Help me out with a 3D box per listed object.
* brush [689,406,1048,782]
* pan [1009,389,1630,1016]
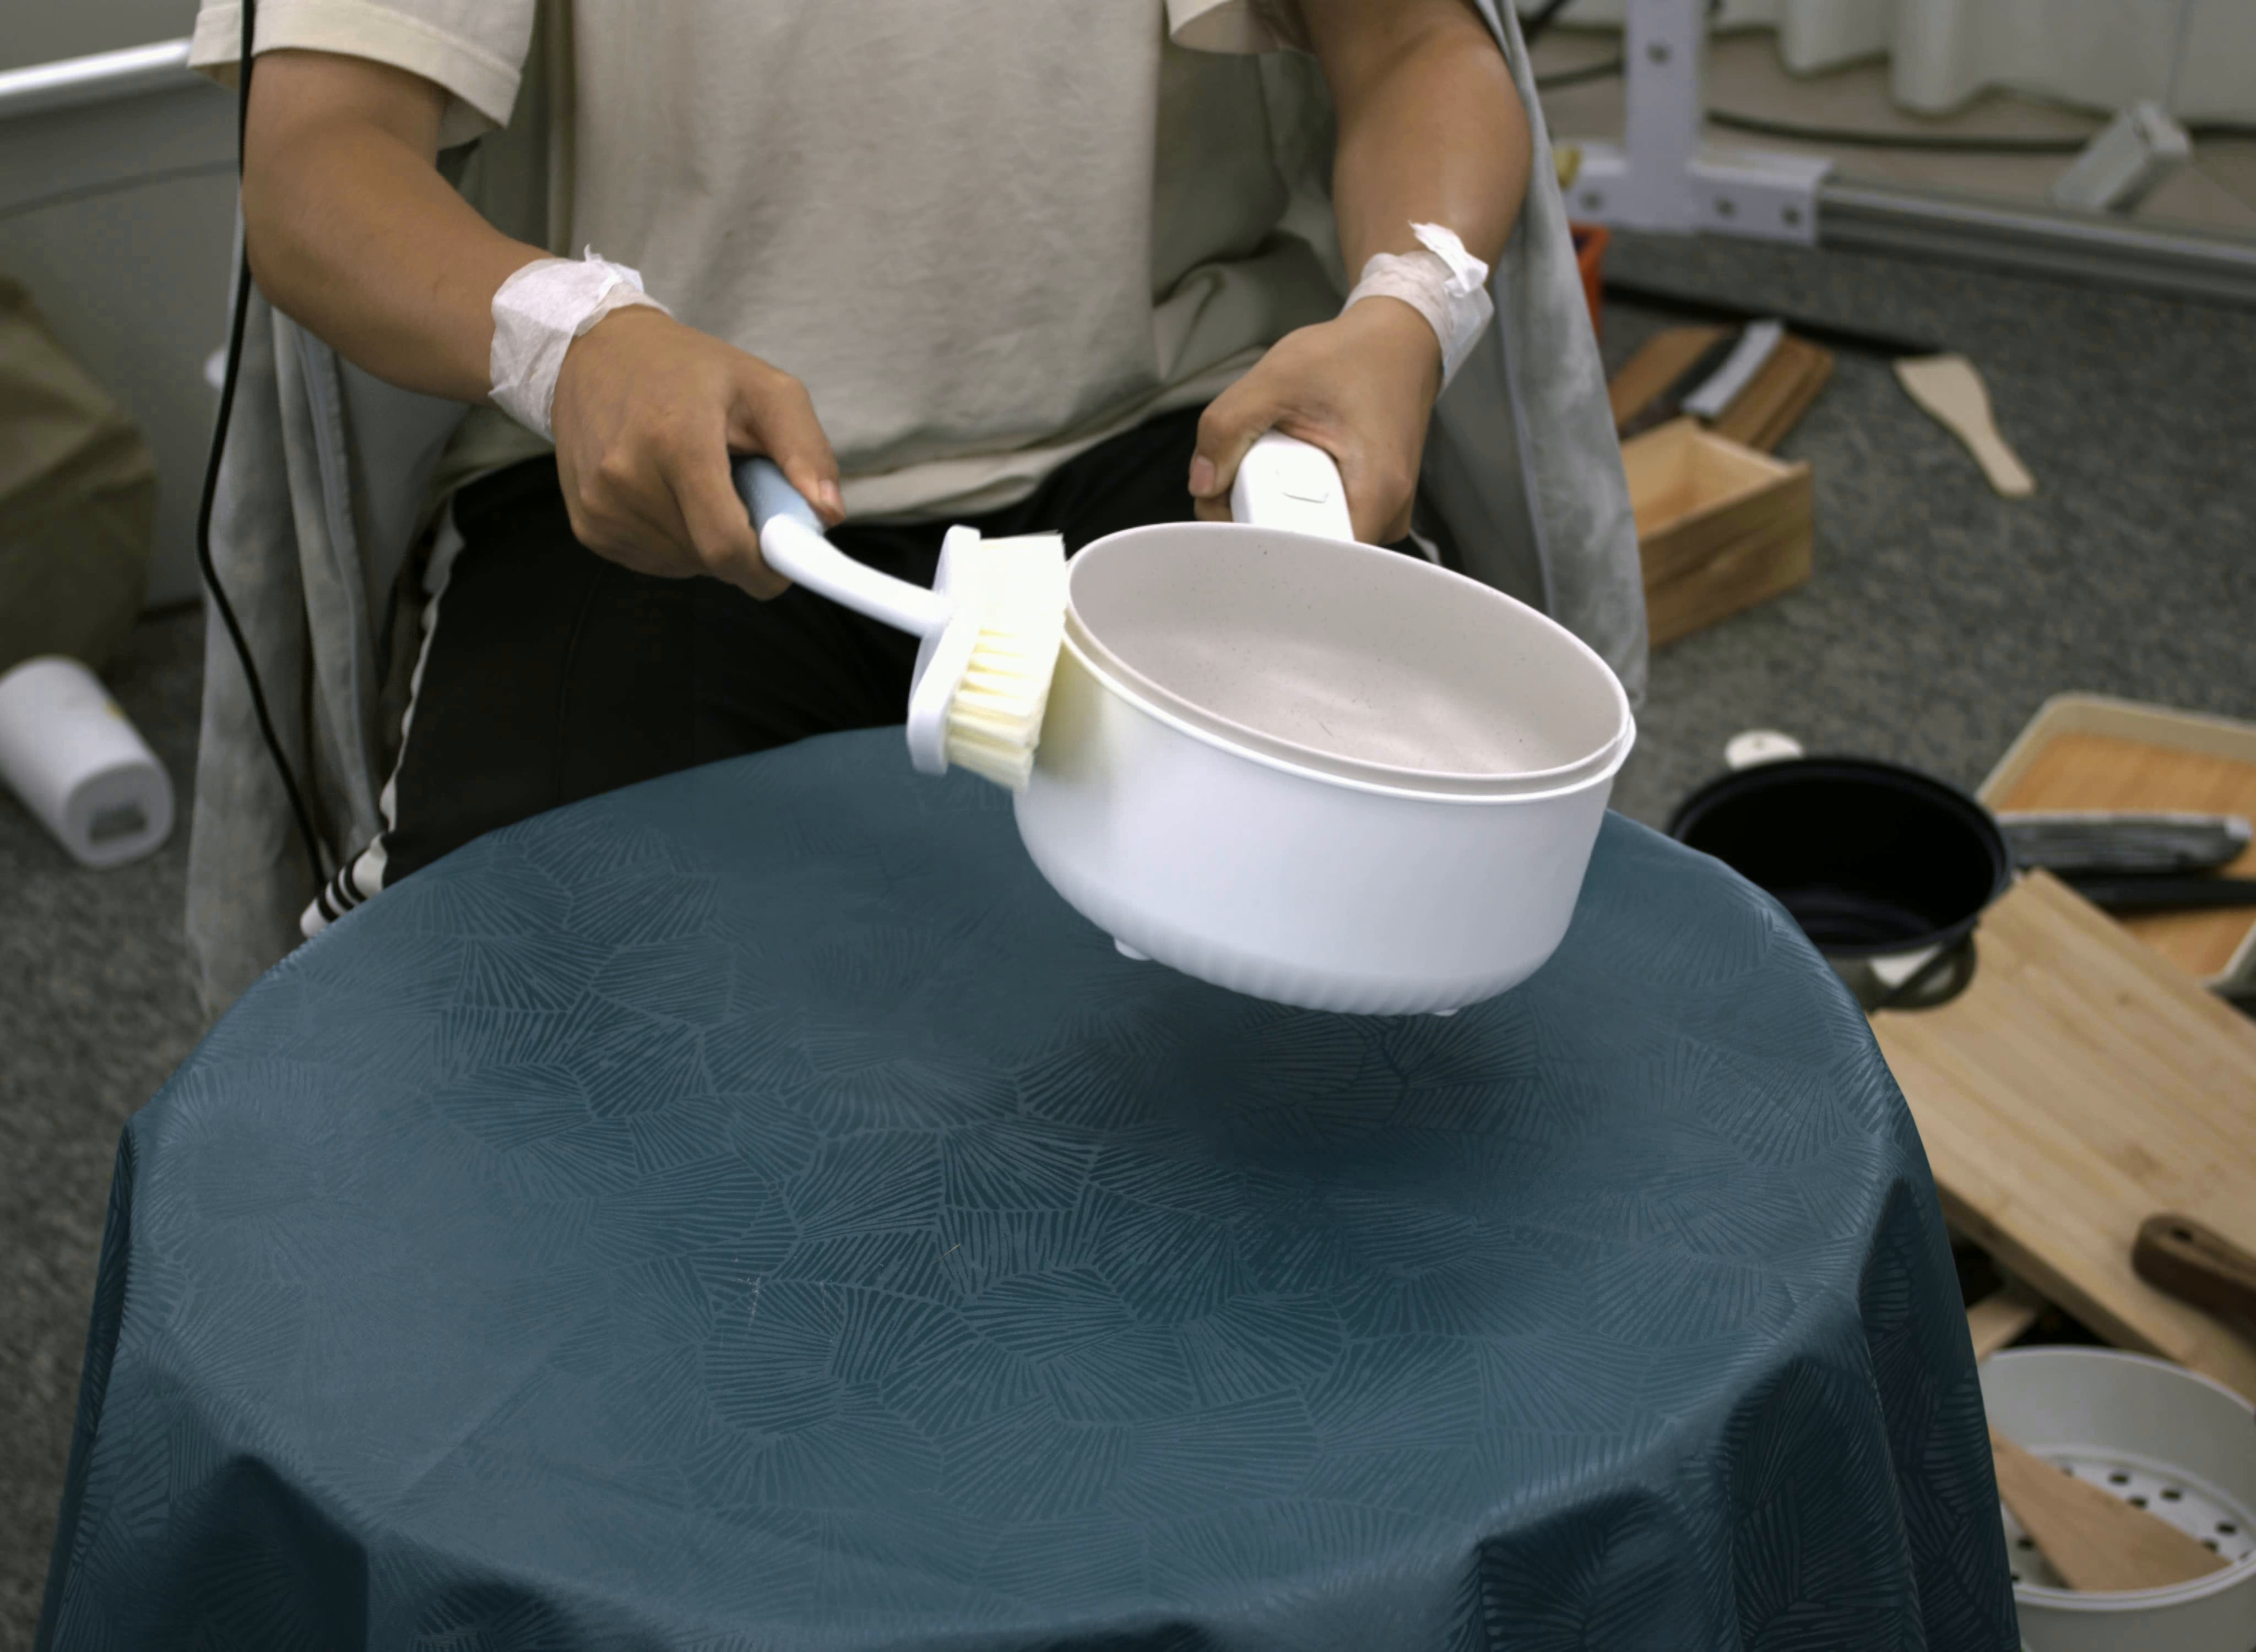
[{"bbox_3d":[-0.073,-0.090,1.927,0.083,0.084,0.328,-42,24,2],"label":"brush"},{"bbox_3d":[0.055,-0.047,1.952,0.200,0.101,0.359,10,23,-8],"label":"pan"}]
